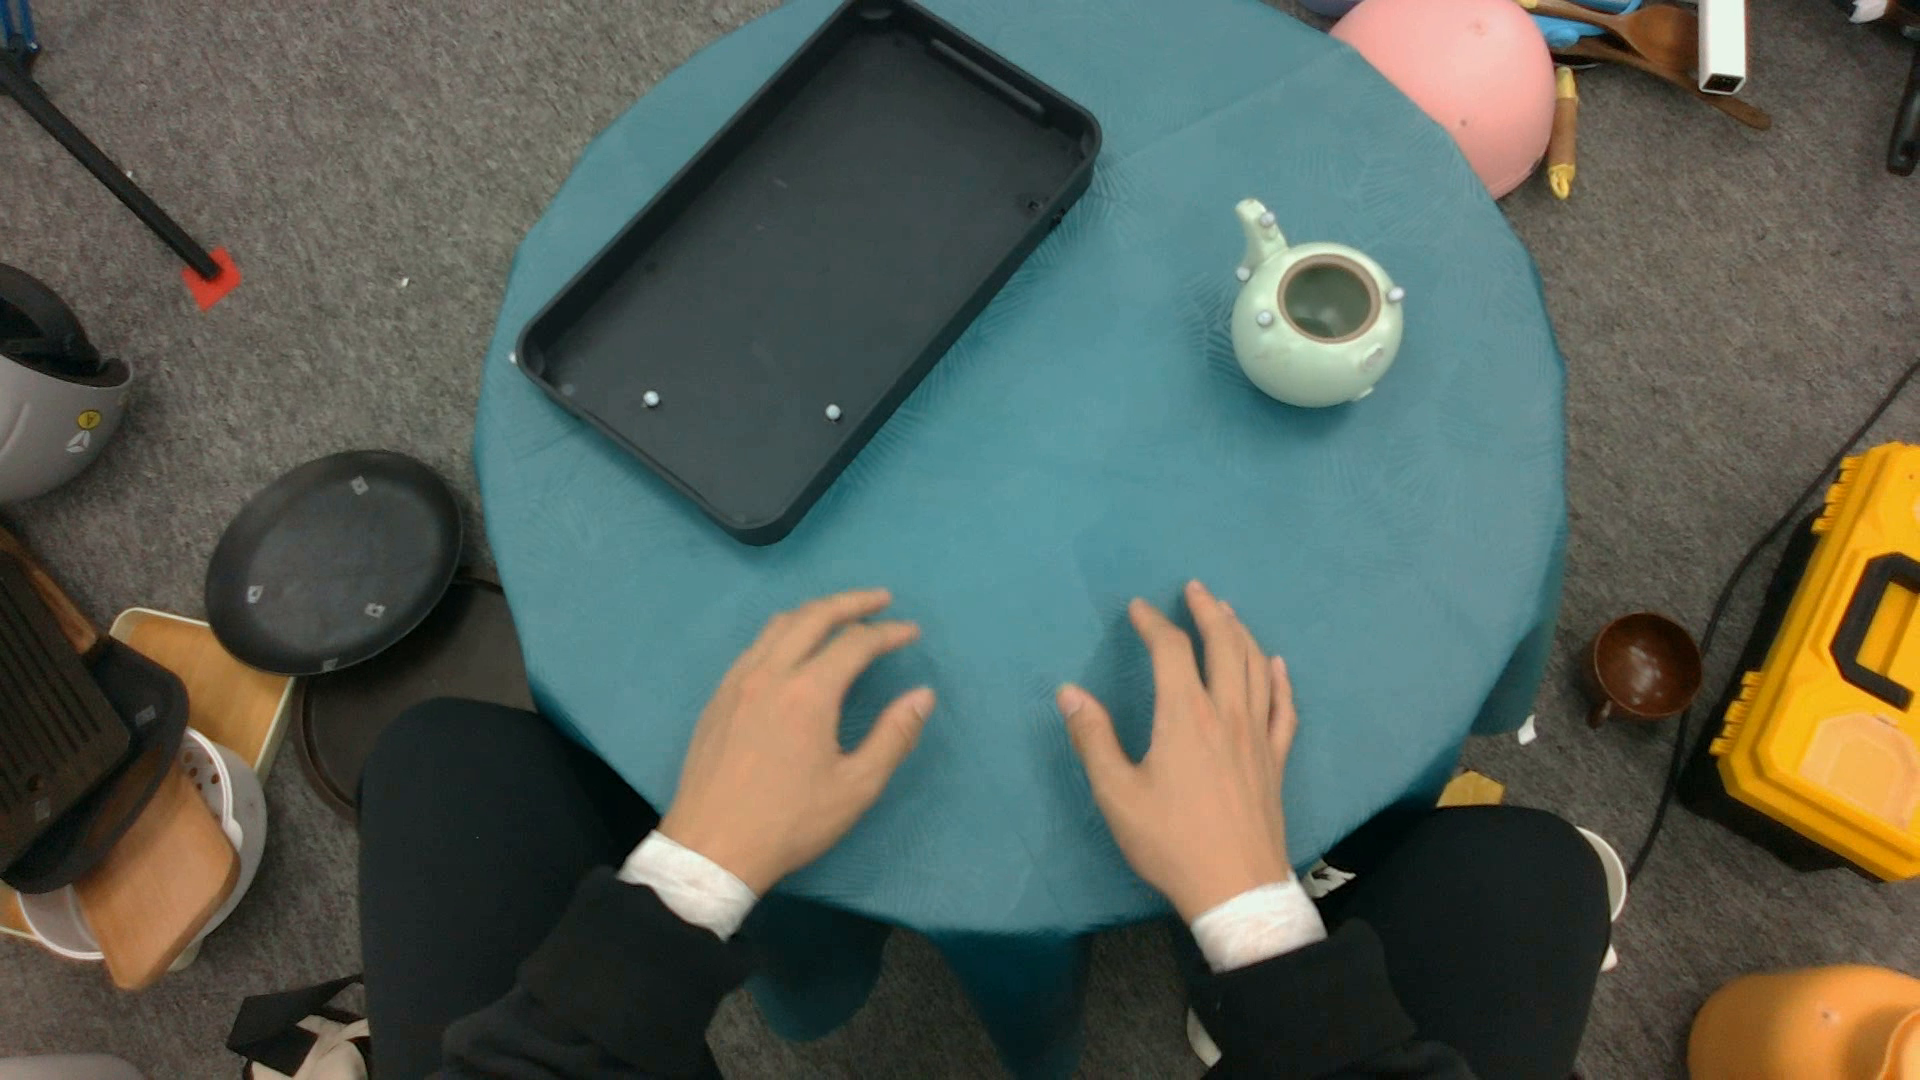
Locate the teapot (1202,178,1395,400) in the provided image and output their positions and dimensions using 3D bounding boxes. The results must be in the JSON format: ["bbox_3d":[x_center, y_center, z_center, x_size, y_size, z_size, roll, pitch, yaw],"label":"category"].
[{"bbox_3d":[0.174,-0.126,0.737,0.088,0.074,0.144,-34,72,-10],"label":"teapot"}]

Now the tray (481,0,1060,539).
[{"bbox_3d":[-0.099,-0.166,0.773,0.184,0.037,0.319,33,74,11],"label":"tray"}]
